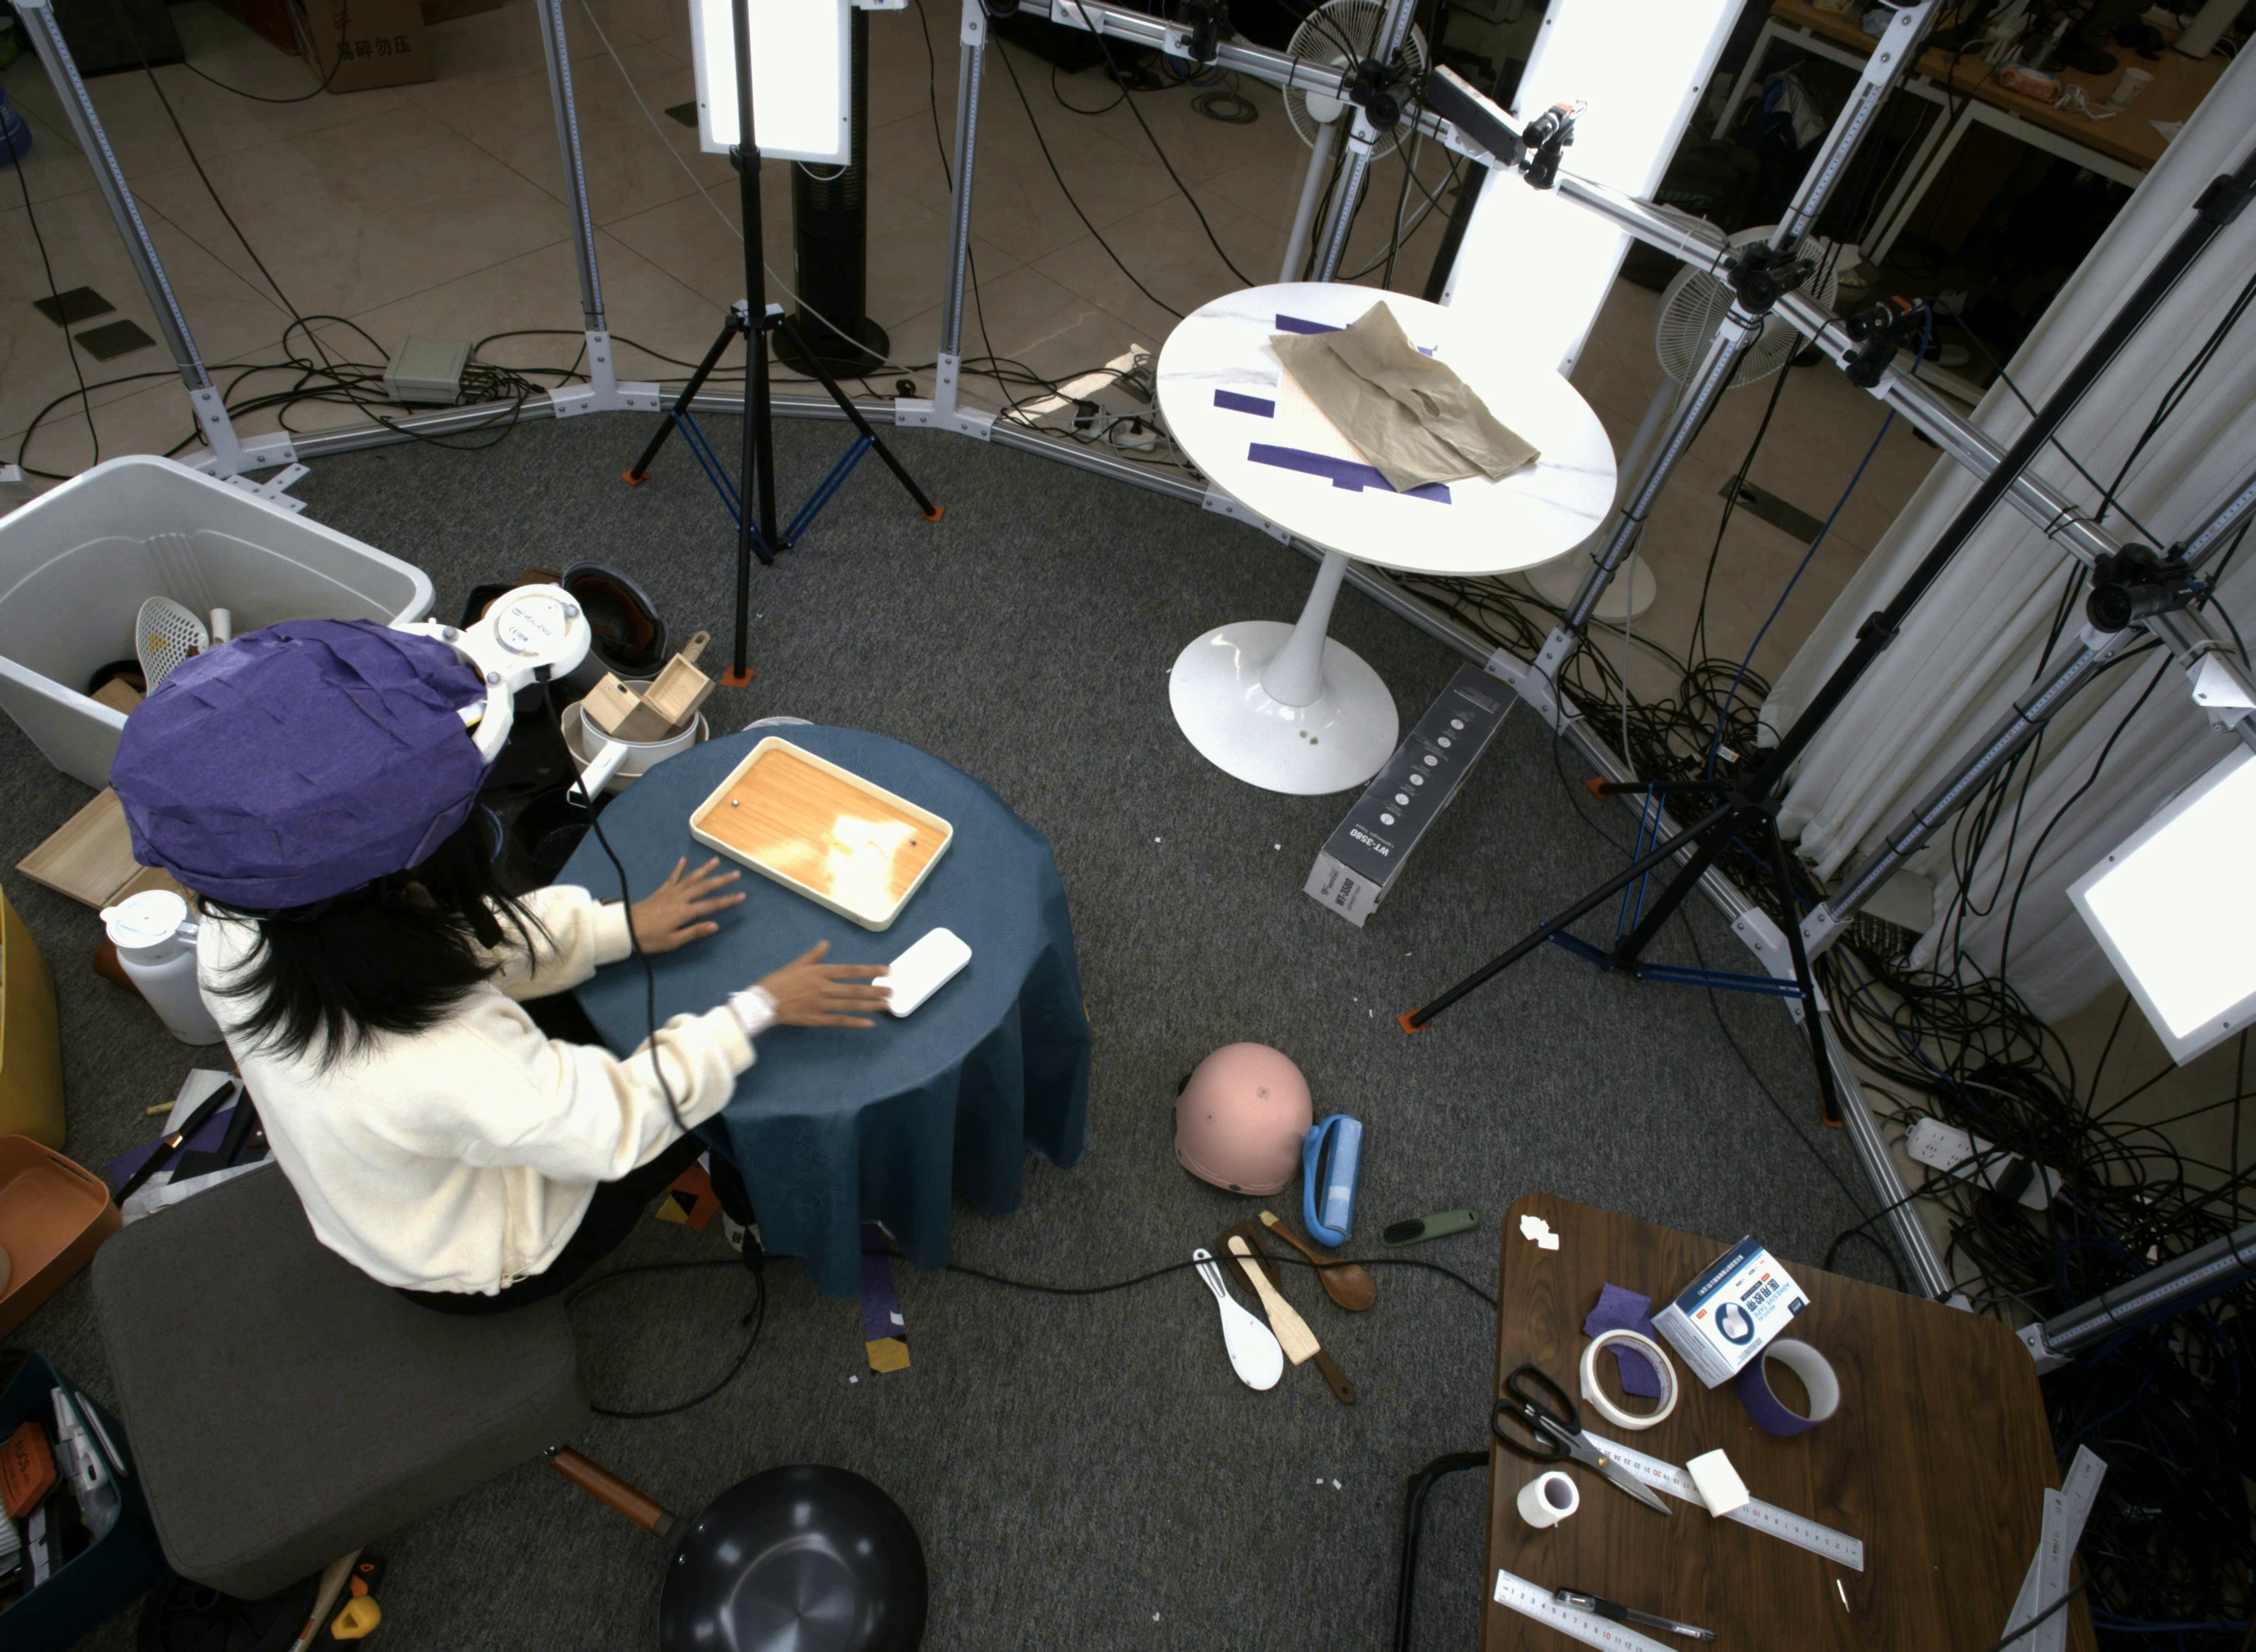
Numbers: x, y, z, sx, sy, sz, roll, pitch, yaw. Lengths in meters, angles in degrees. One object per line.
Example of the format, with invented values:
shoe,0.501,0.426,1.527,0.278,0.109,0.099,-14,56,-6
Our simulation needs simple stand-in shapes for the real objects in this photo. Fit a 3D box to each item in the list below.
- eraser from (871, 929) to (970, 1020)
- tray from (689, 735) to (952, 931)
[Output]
eraser,-0.257,0.179,1.609,0.062,0.035,0.131,39,53,15
tray,-0.402,0.004,1.705,0.296,0.028,0.190,26,51,5
